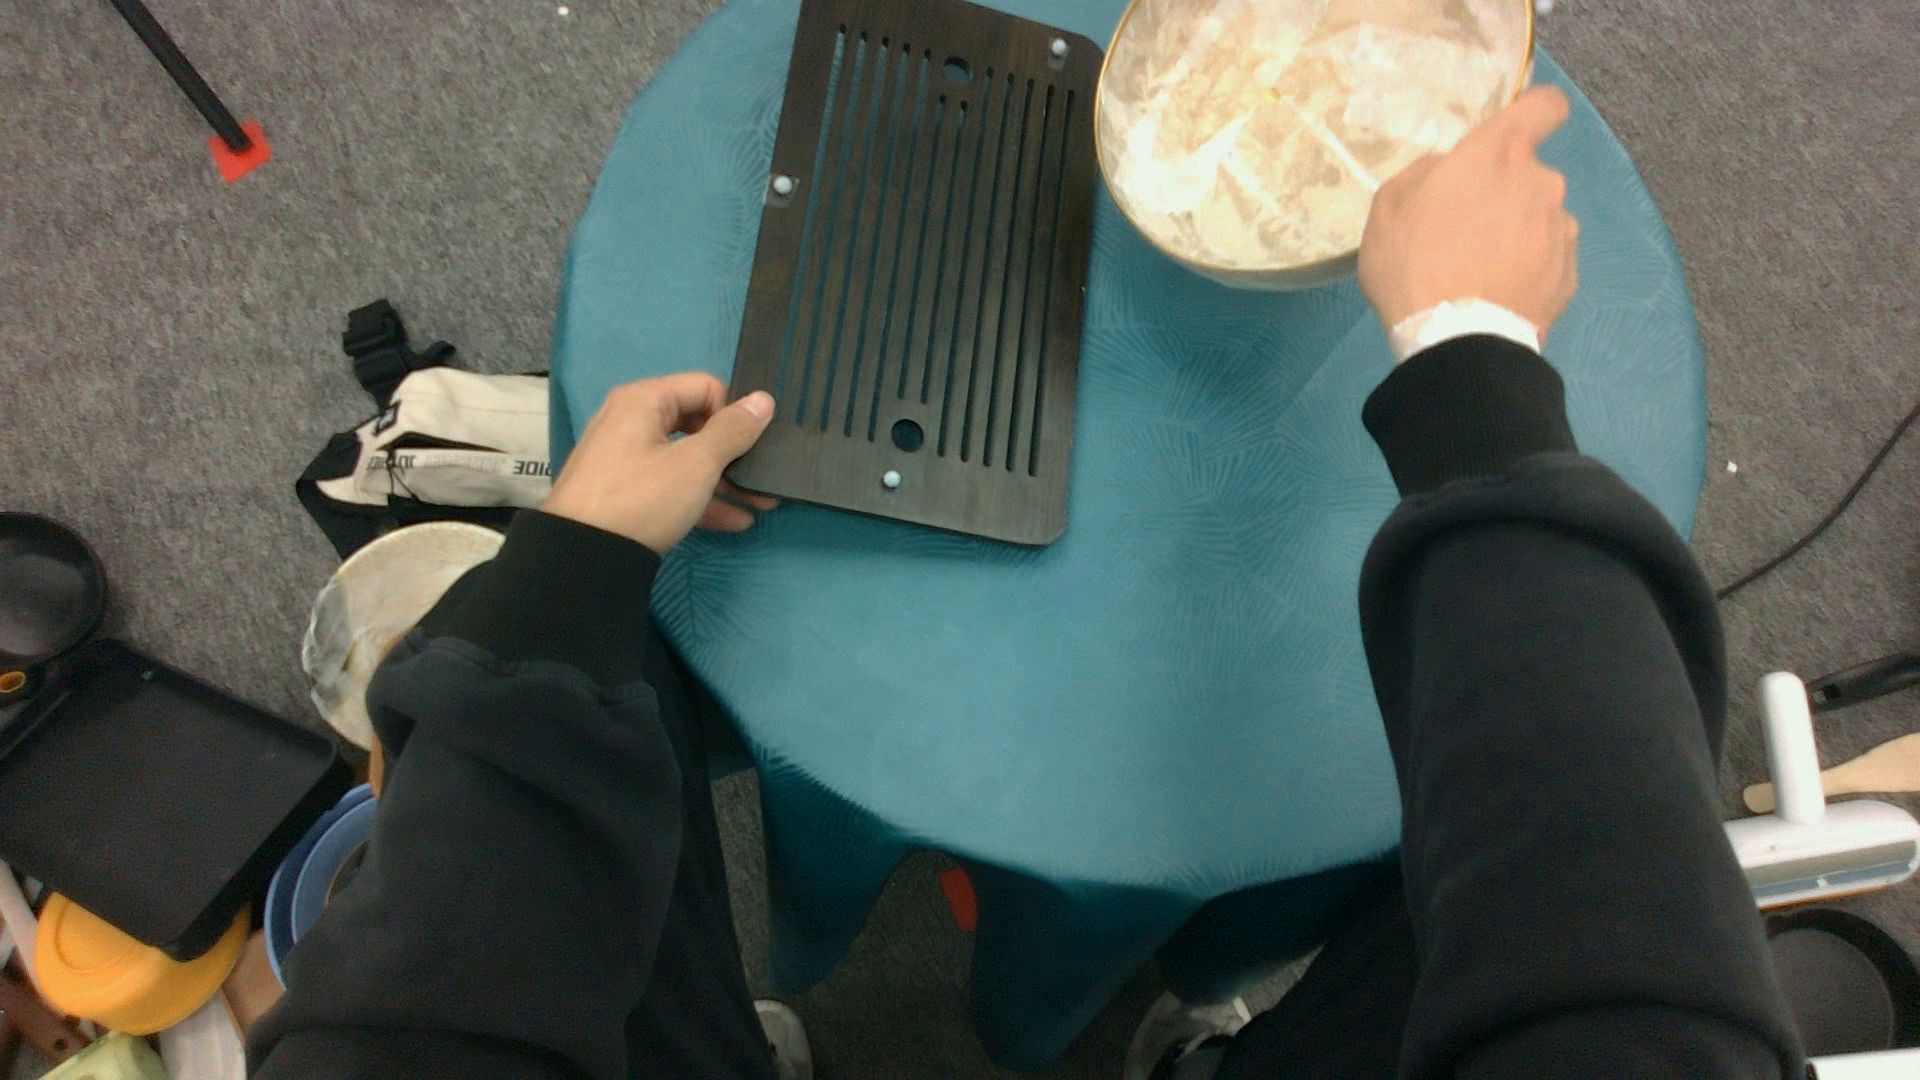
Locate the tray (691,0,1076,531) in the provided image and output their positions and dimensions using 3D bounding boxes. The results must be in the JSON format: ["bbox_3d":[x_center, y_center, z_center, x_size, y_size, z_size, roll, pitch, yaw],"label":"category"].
[{"bbox_3d":[-0.030,-0.159,0.701,0.170,0.018,0.307,11,69,-13],"label":"tray"}]

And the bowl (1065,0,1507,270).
[{"bbox_3d":[0.160,-0.216,0.667,0.214,0.094,0.215,-6,77,27],"label":"bowl"}]
